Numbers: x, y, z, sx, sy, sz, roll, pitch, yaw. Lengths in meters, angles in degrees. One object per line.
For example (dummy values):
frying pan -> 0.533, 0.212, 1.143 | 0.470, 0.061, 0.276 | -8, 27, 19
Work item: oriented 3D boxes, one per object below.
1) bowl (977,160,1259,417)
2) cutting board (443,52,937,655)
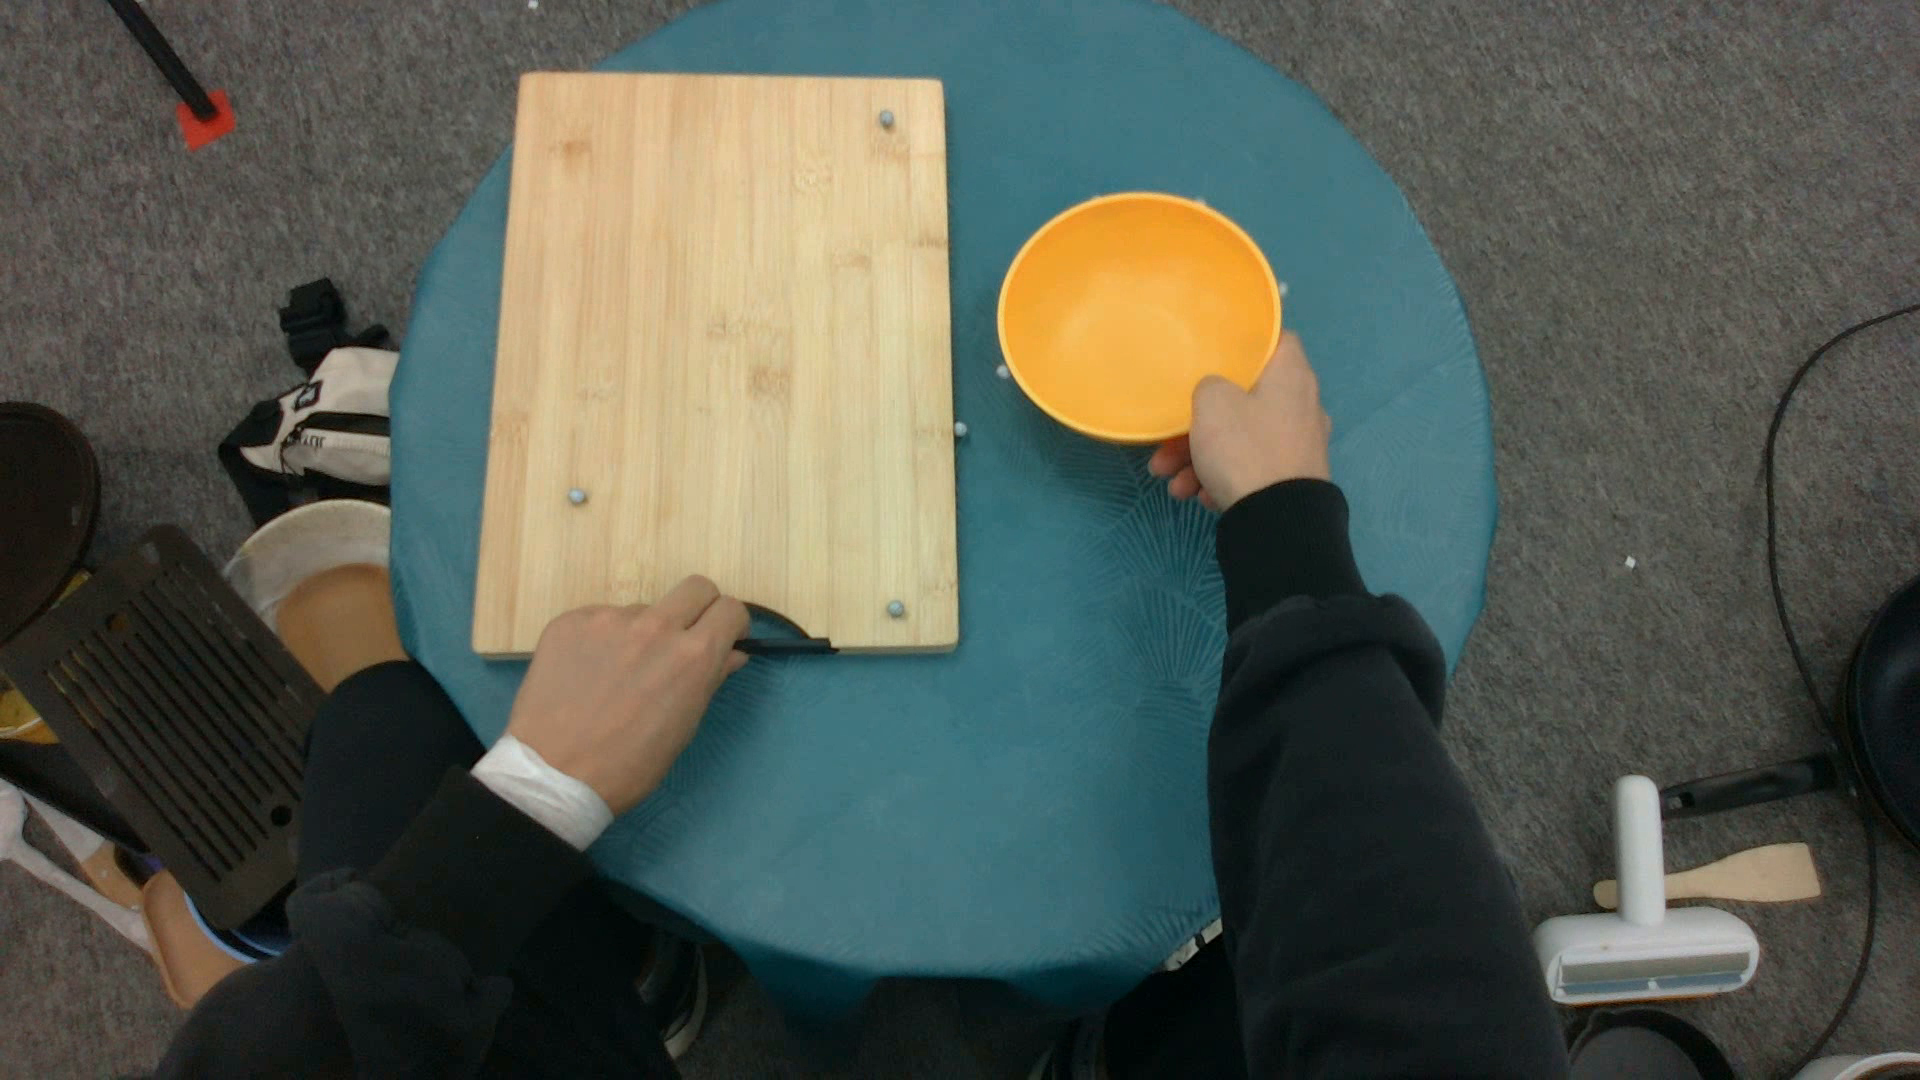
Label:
bowl -> 0.085, -0.124, 0.732 | 0.145, 0.060, 0.145 | -3, 72, 10
cutting board -> -0.138, -0.110, 0.741 | 0.251, 0.023, 0.349 | -2, 72, -5
